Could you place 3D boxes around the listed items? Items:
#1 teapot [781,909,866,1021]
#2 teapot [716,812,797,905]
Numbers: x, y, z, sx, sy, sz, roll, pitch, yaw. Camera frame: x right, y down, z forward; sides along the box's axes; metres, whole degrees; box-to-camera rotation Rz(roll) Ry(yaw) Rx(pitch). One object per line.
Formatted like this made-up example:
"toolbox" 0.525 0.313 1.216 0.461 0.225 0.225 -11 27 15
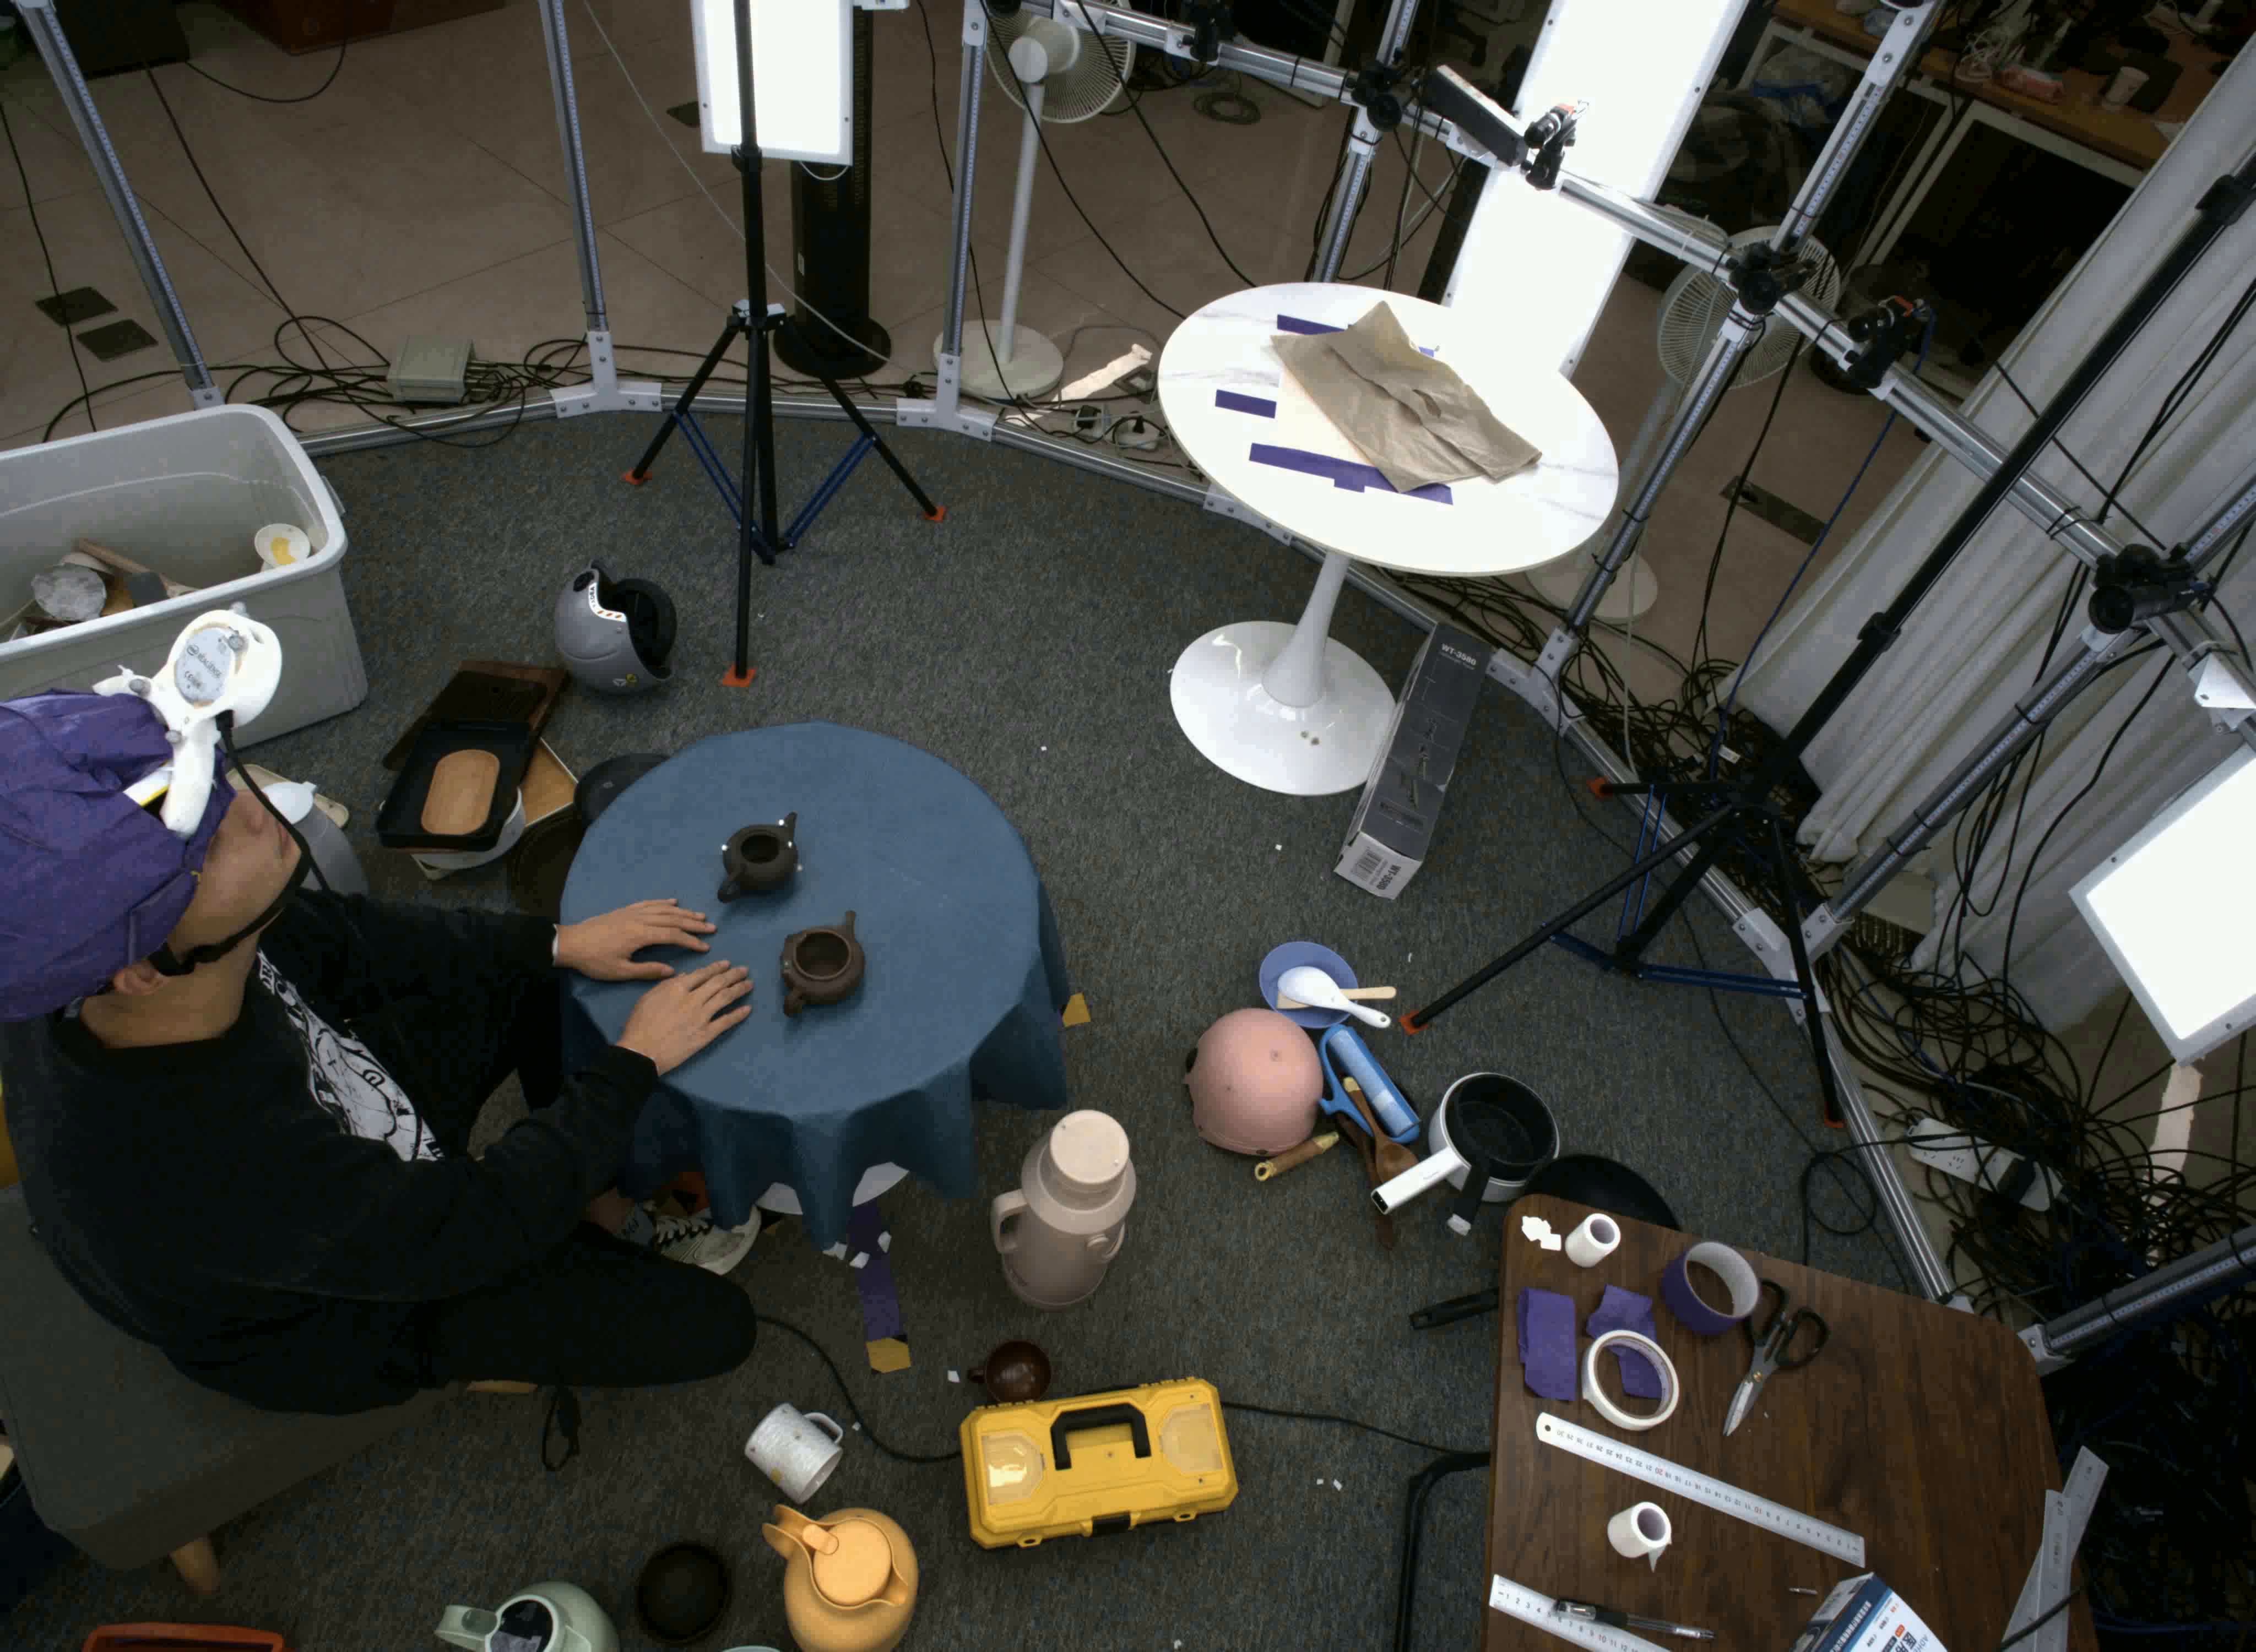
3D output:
"teapot" -0.371 0.169 1.573 0.101 0.055 0.152 19 51 4
"teapot" -0.468 0.043 1.637 0.091 0.066 0.153 28 52 11
